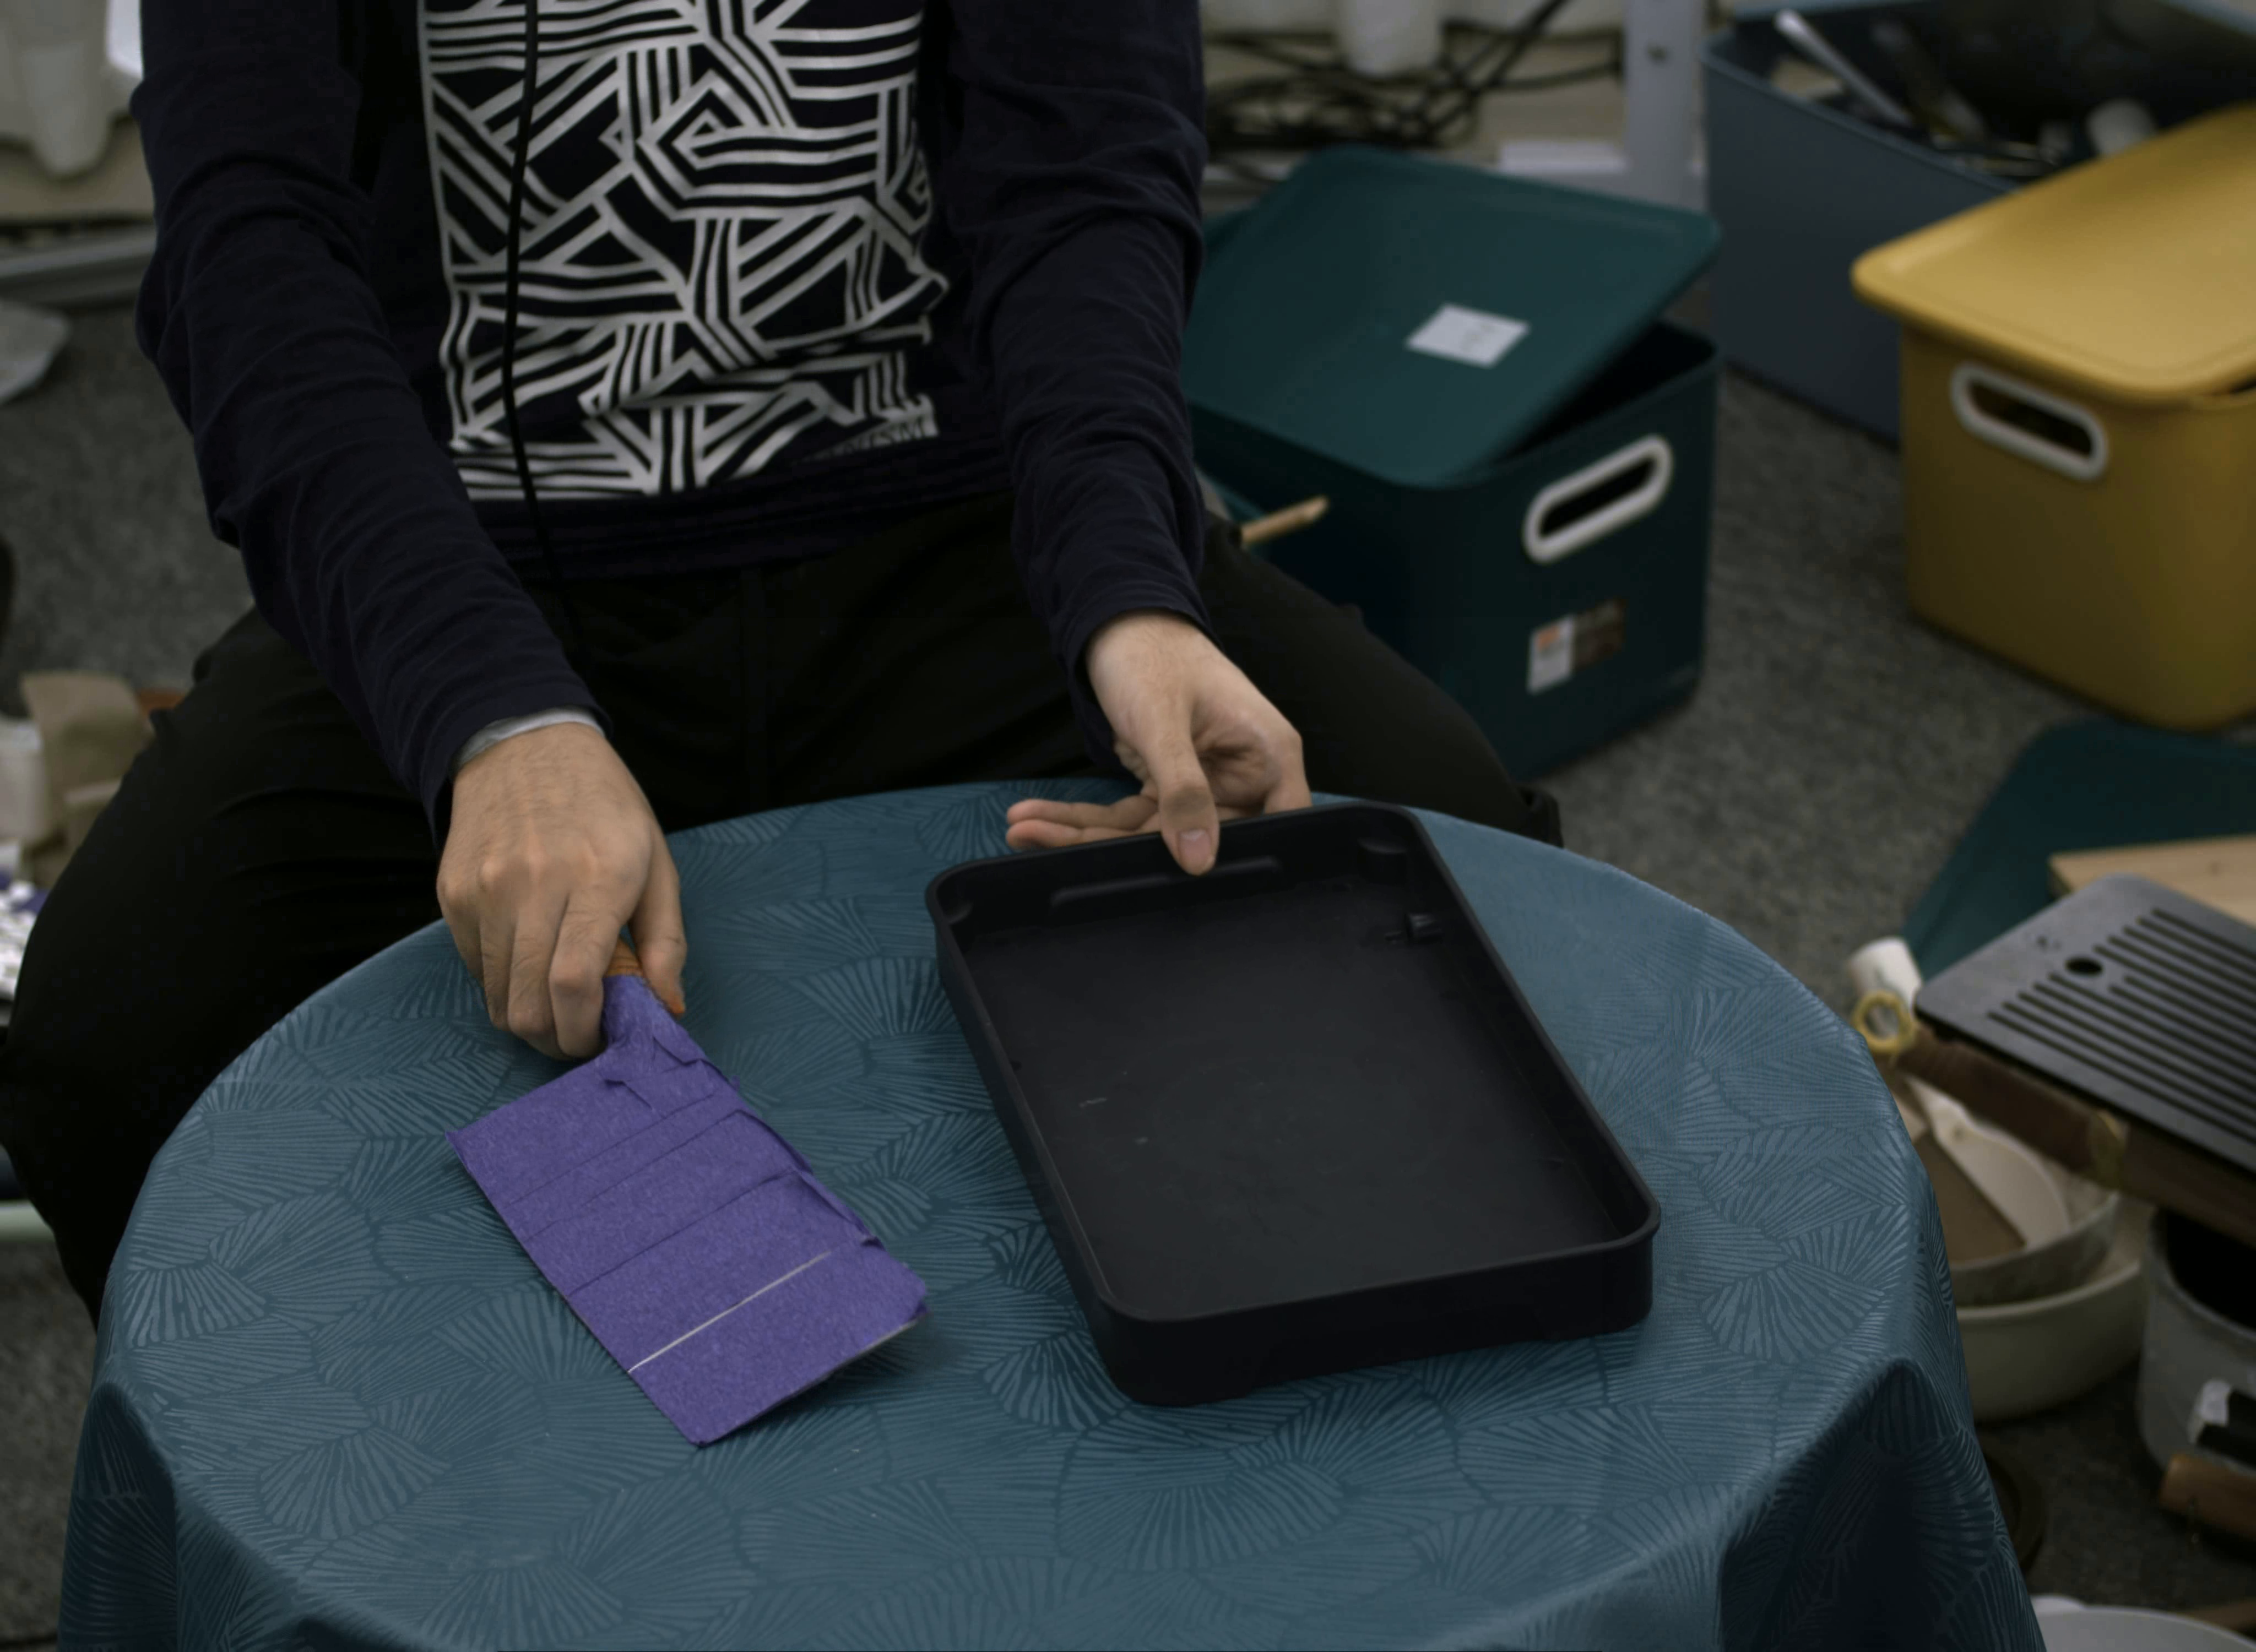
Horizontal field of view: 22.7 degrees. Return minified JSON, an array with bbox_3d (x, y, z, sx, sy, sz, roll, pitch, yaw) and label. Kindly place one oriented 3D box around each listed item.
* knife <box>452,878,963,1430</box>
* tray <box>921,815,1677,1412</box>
[{"bbox_3d":[-0.168,0.104,1.866,0.104,0.032,0.317,-26,33,-18],"label":"knife"},{"bbox_3d":[0.051,0.090,1.882,0.184,0.036,0.321,-9,27,-12],"label":"tray"}]
